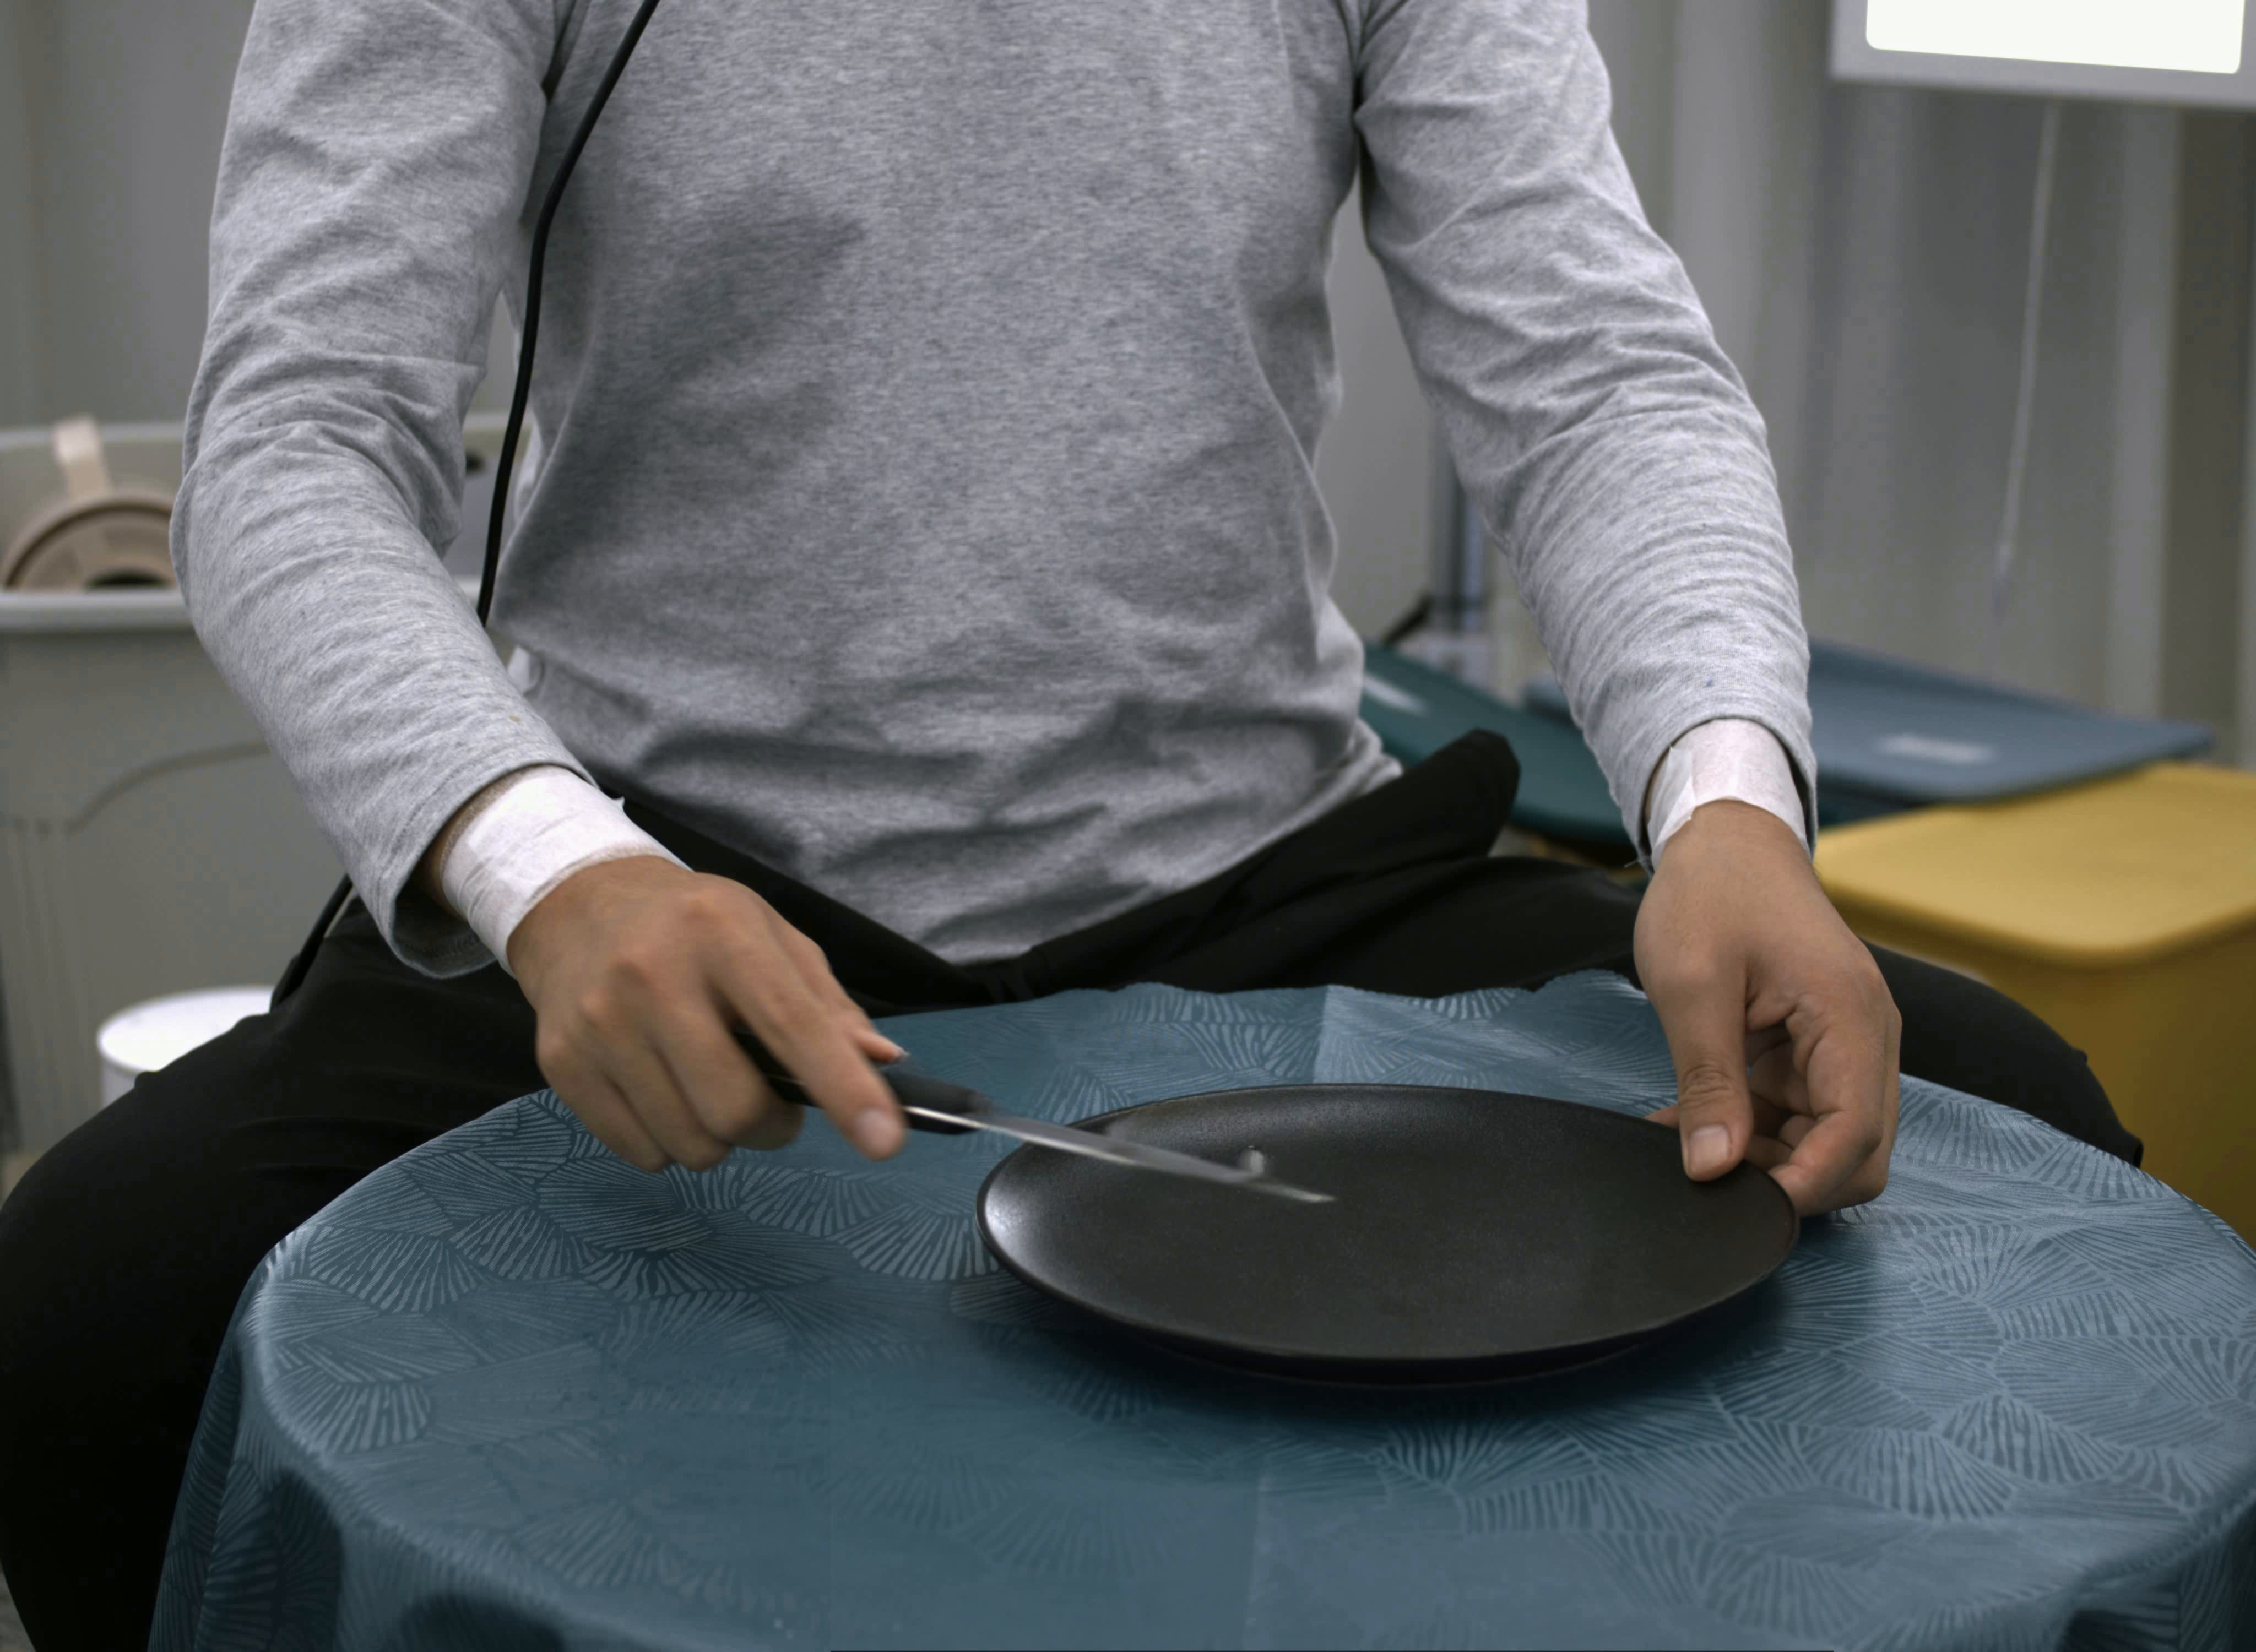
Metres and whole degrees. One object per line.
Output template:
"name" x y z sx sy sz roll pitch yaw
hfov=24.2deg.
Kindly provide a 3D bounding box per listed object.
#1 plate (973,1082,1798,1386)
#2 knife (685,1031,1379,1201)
"plate" 0.075 0.122 1.550 0.243 0.023 0.243 1 15 0
"knife" -0.033 0.084 1.499 0.235 0.016 0.024 10 9 31
